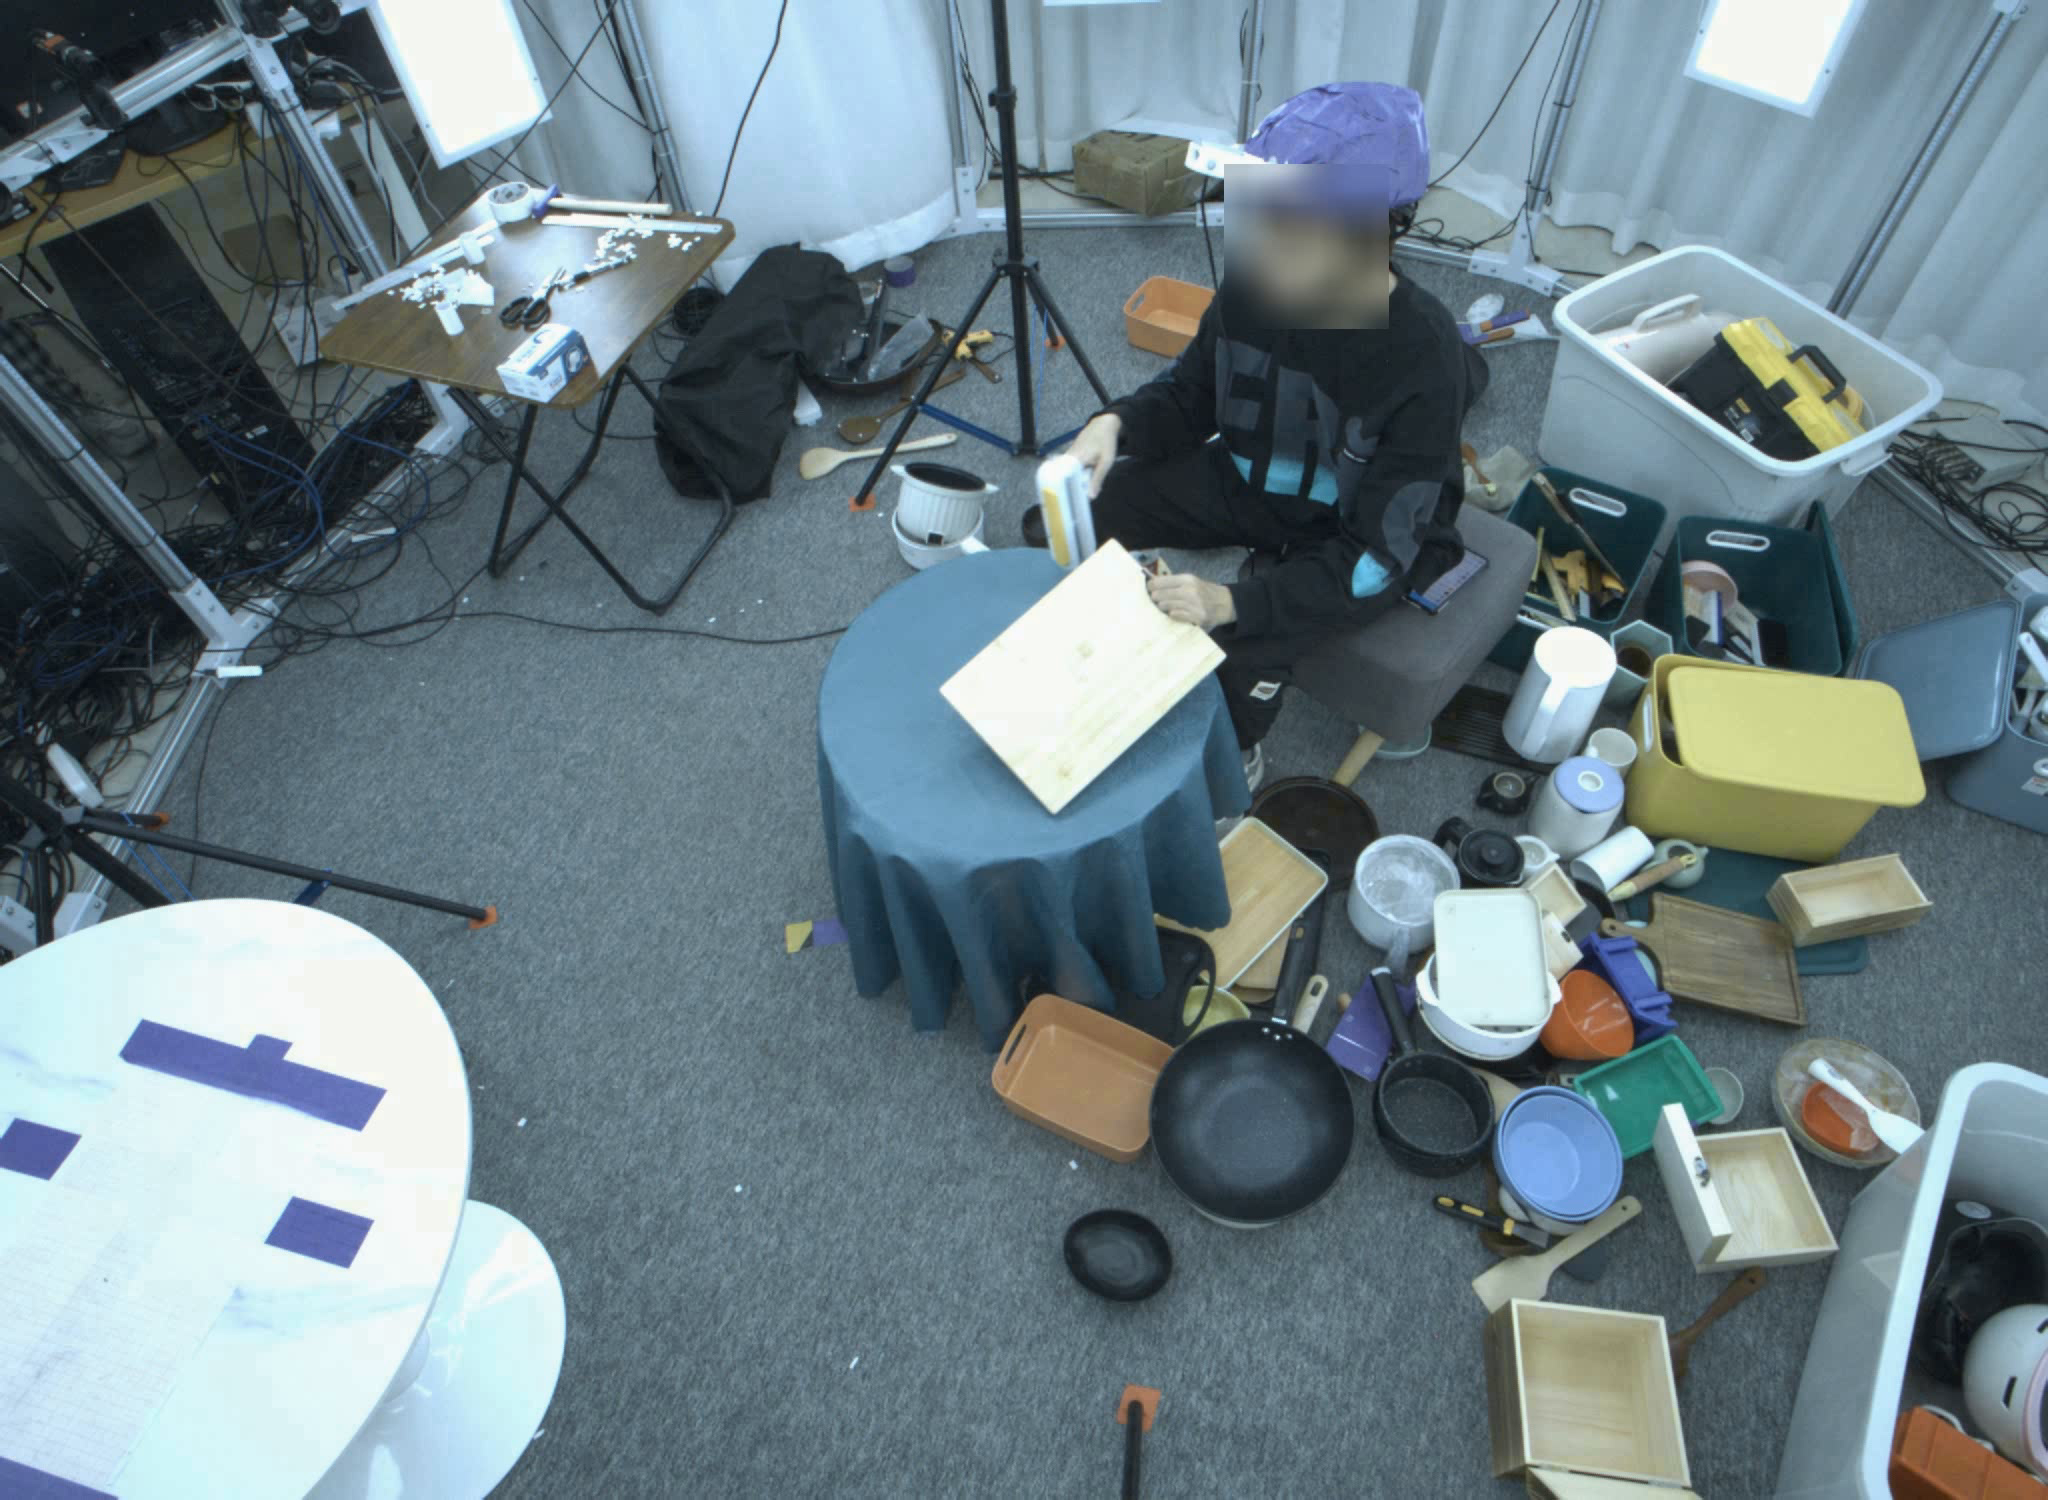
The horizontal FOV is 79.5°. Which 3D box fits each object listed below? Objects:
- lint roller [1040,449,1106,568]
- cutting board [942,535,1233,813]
[{"bbox_3d":[0.089,-0.398,1.866,0.073,0.196,0.193,15,49,27],"label":"lint roller"},{"bbox_3d":[0.090,-0.112,1.747,0.349,0.023,0.250,-43,87,-10],"label":"cutting board"}]
